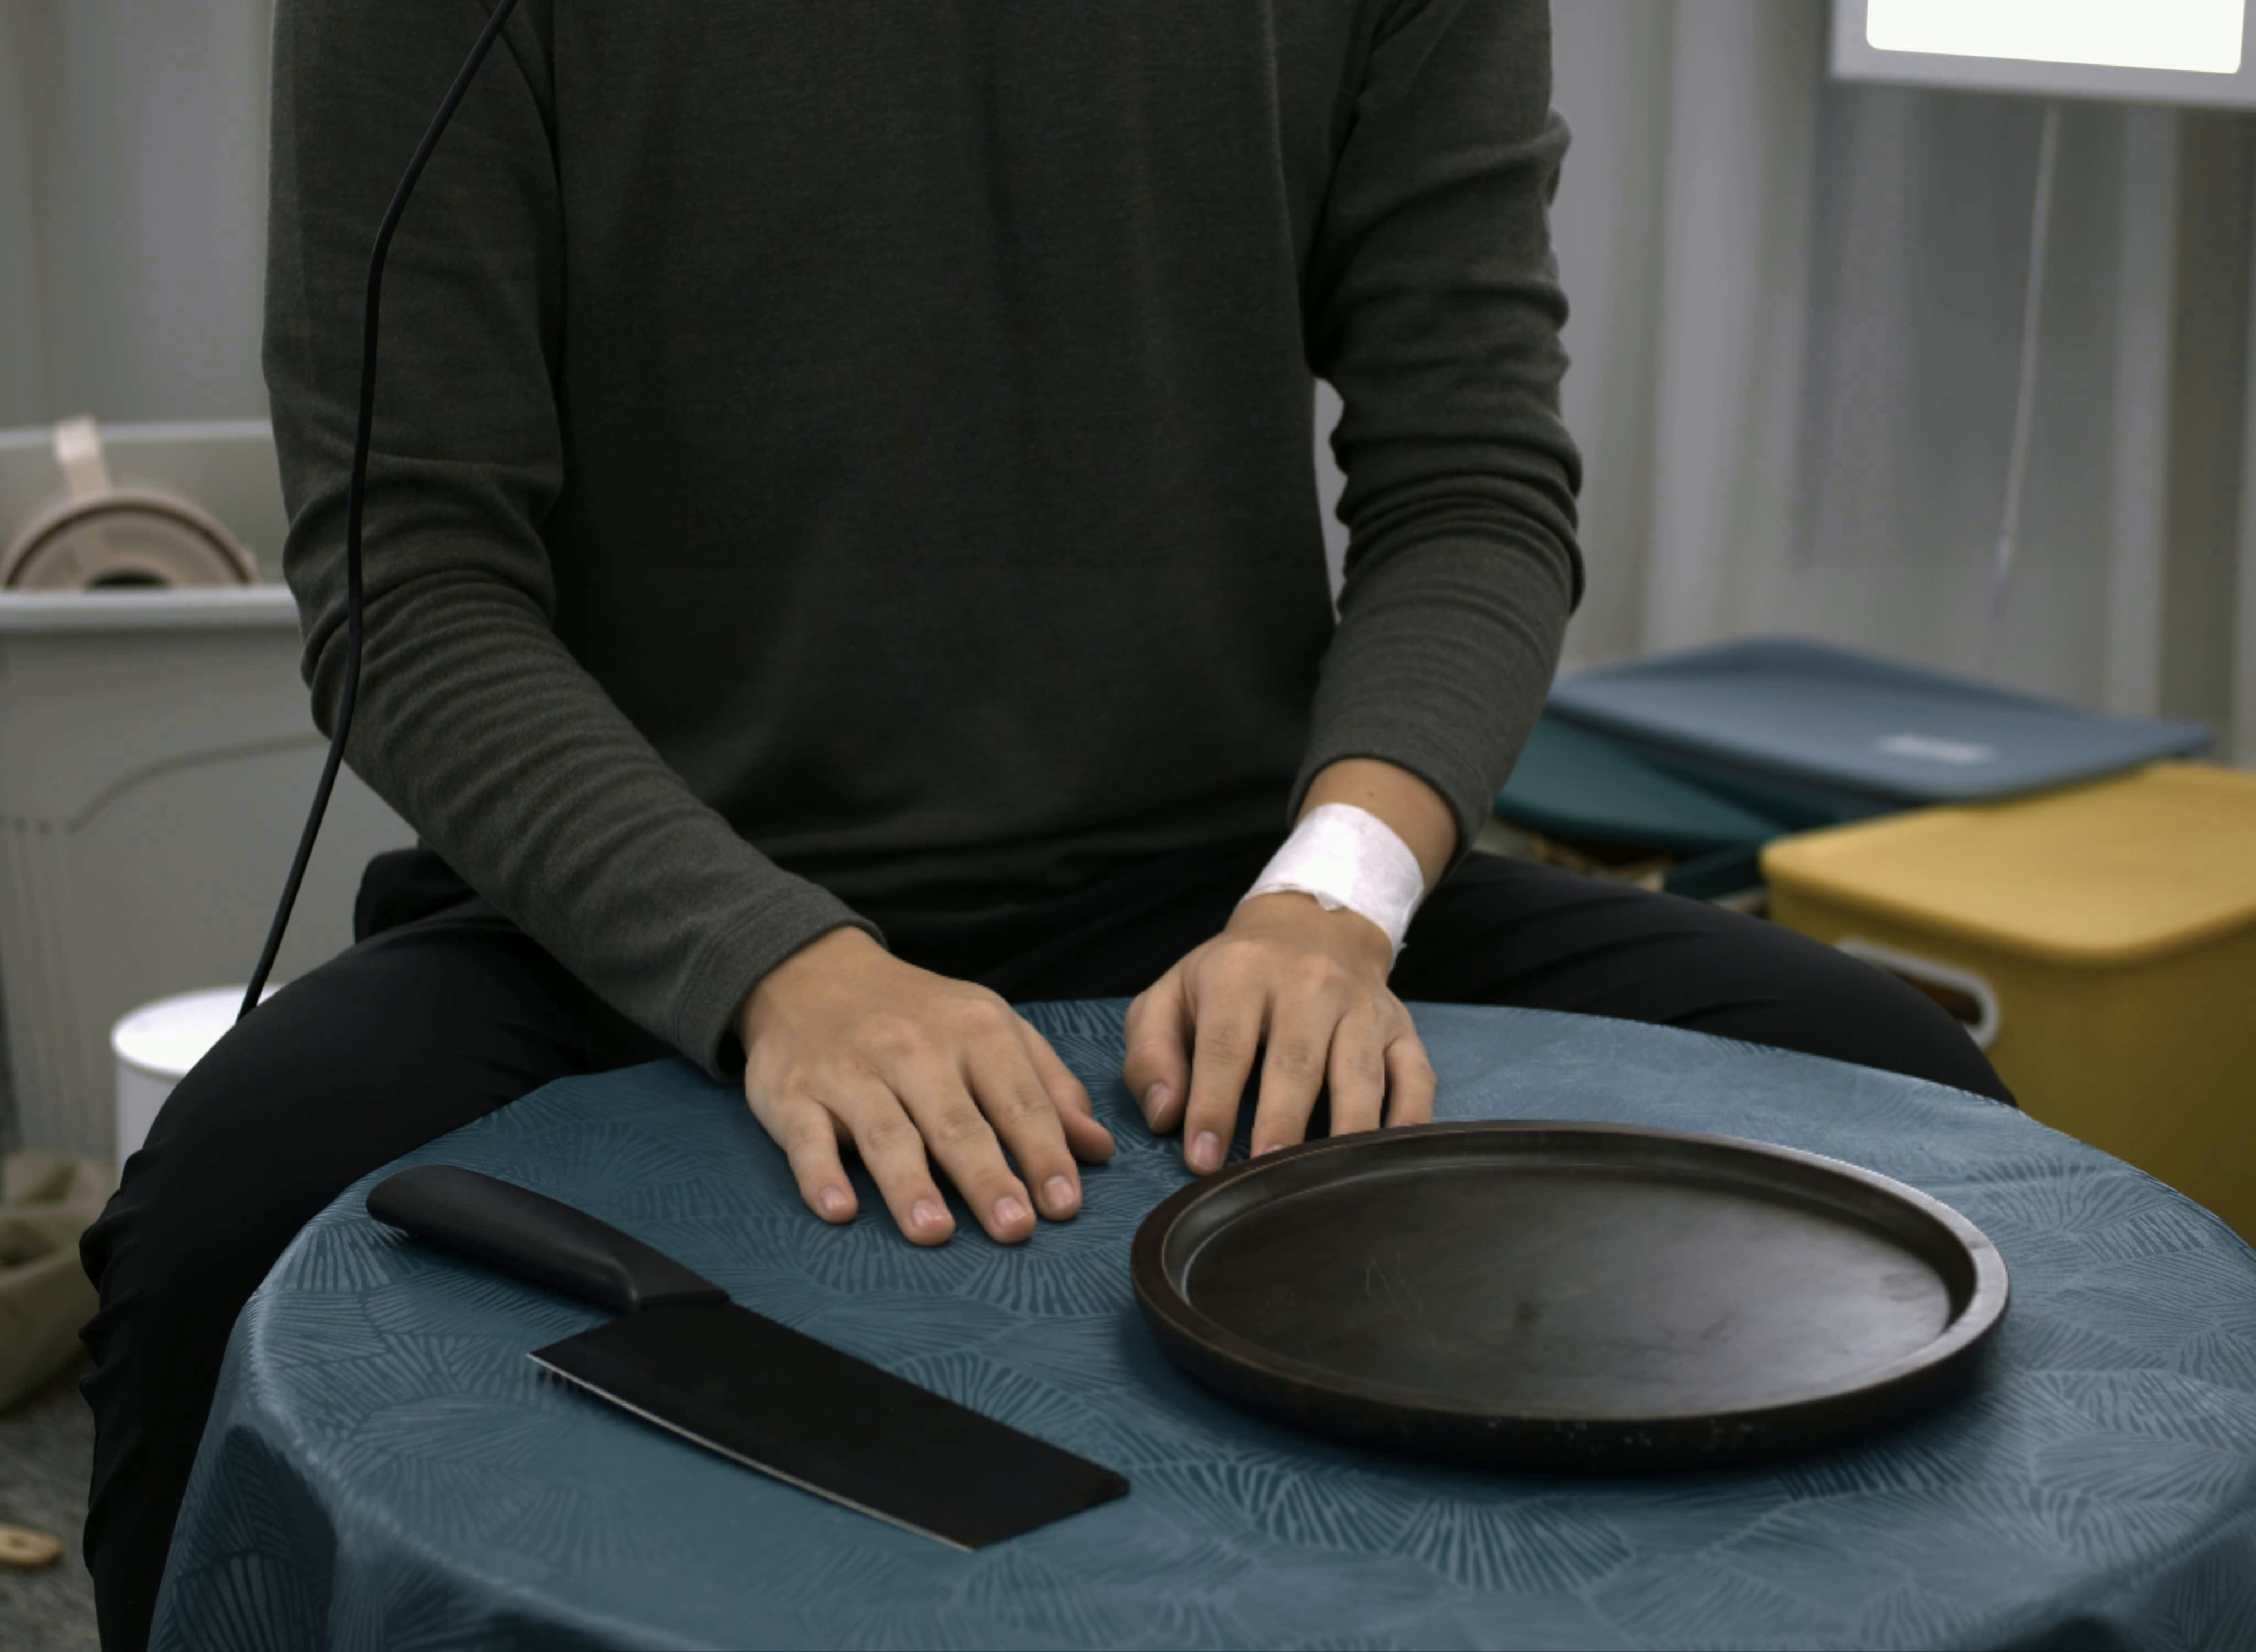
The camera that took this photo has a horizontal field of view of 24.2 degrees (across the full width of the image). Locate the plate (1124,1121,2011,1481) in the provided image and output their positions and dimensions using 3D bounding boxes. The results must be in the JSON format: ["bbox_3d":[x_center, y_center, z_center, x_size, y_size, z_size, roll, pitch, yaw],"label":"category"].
[{"bbox_3d":[0.125,0.133,1.510,0.254,0.029,0.253,1,16,0],"label":"plate"}]

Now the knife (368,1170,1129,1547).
[{"bbox_3d":[-0.121,0.147,1.472,0.081,0.021,0.298,-14,23,-38],"label":"knife"}]
